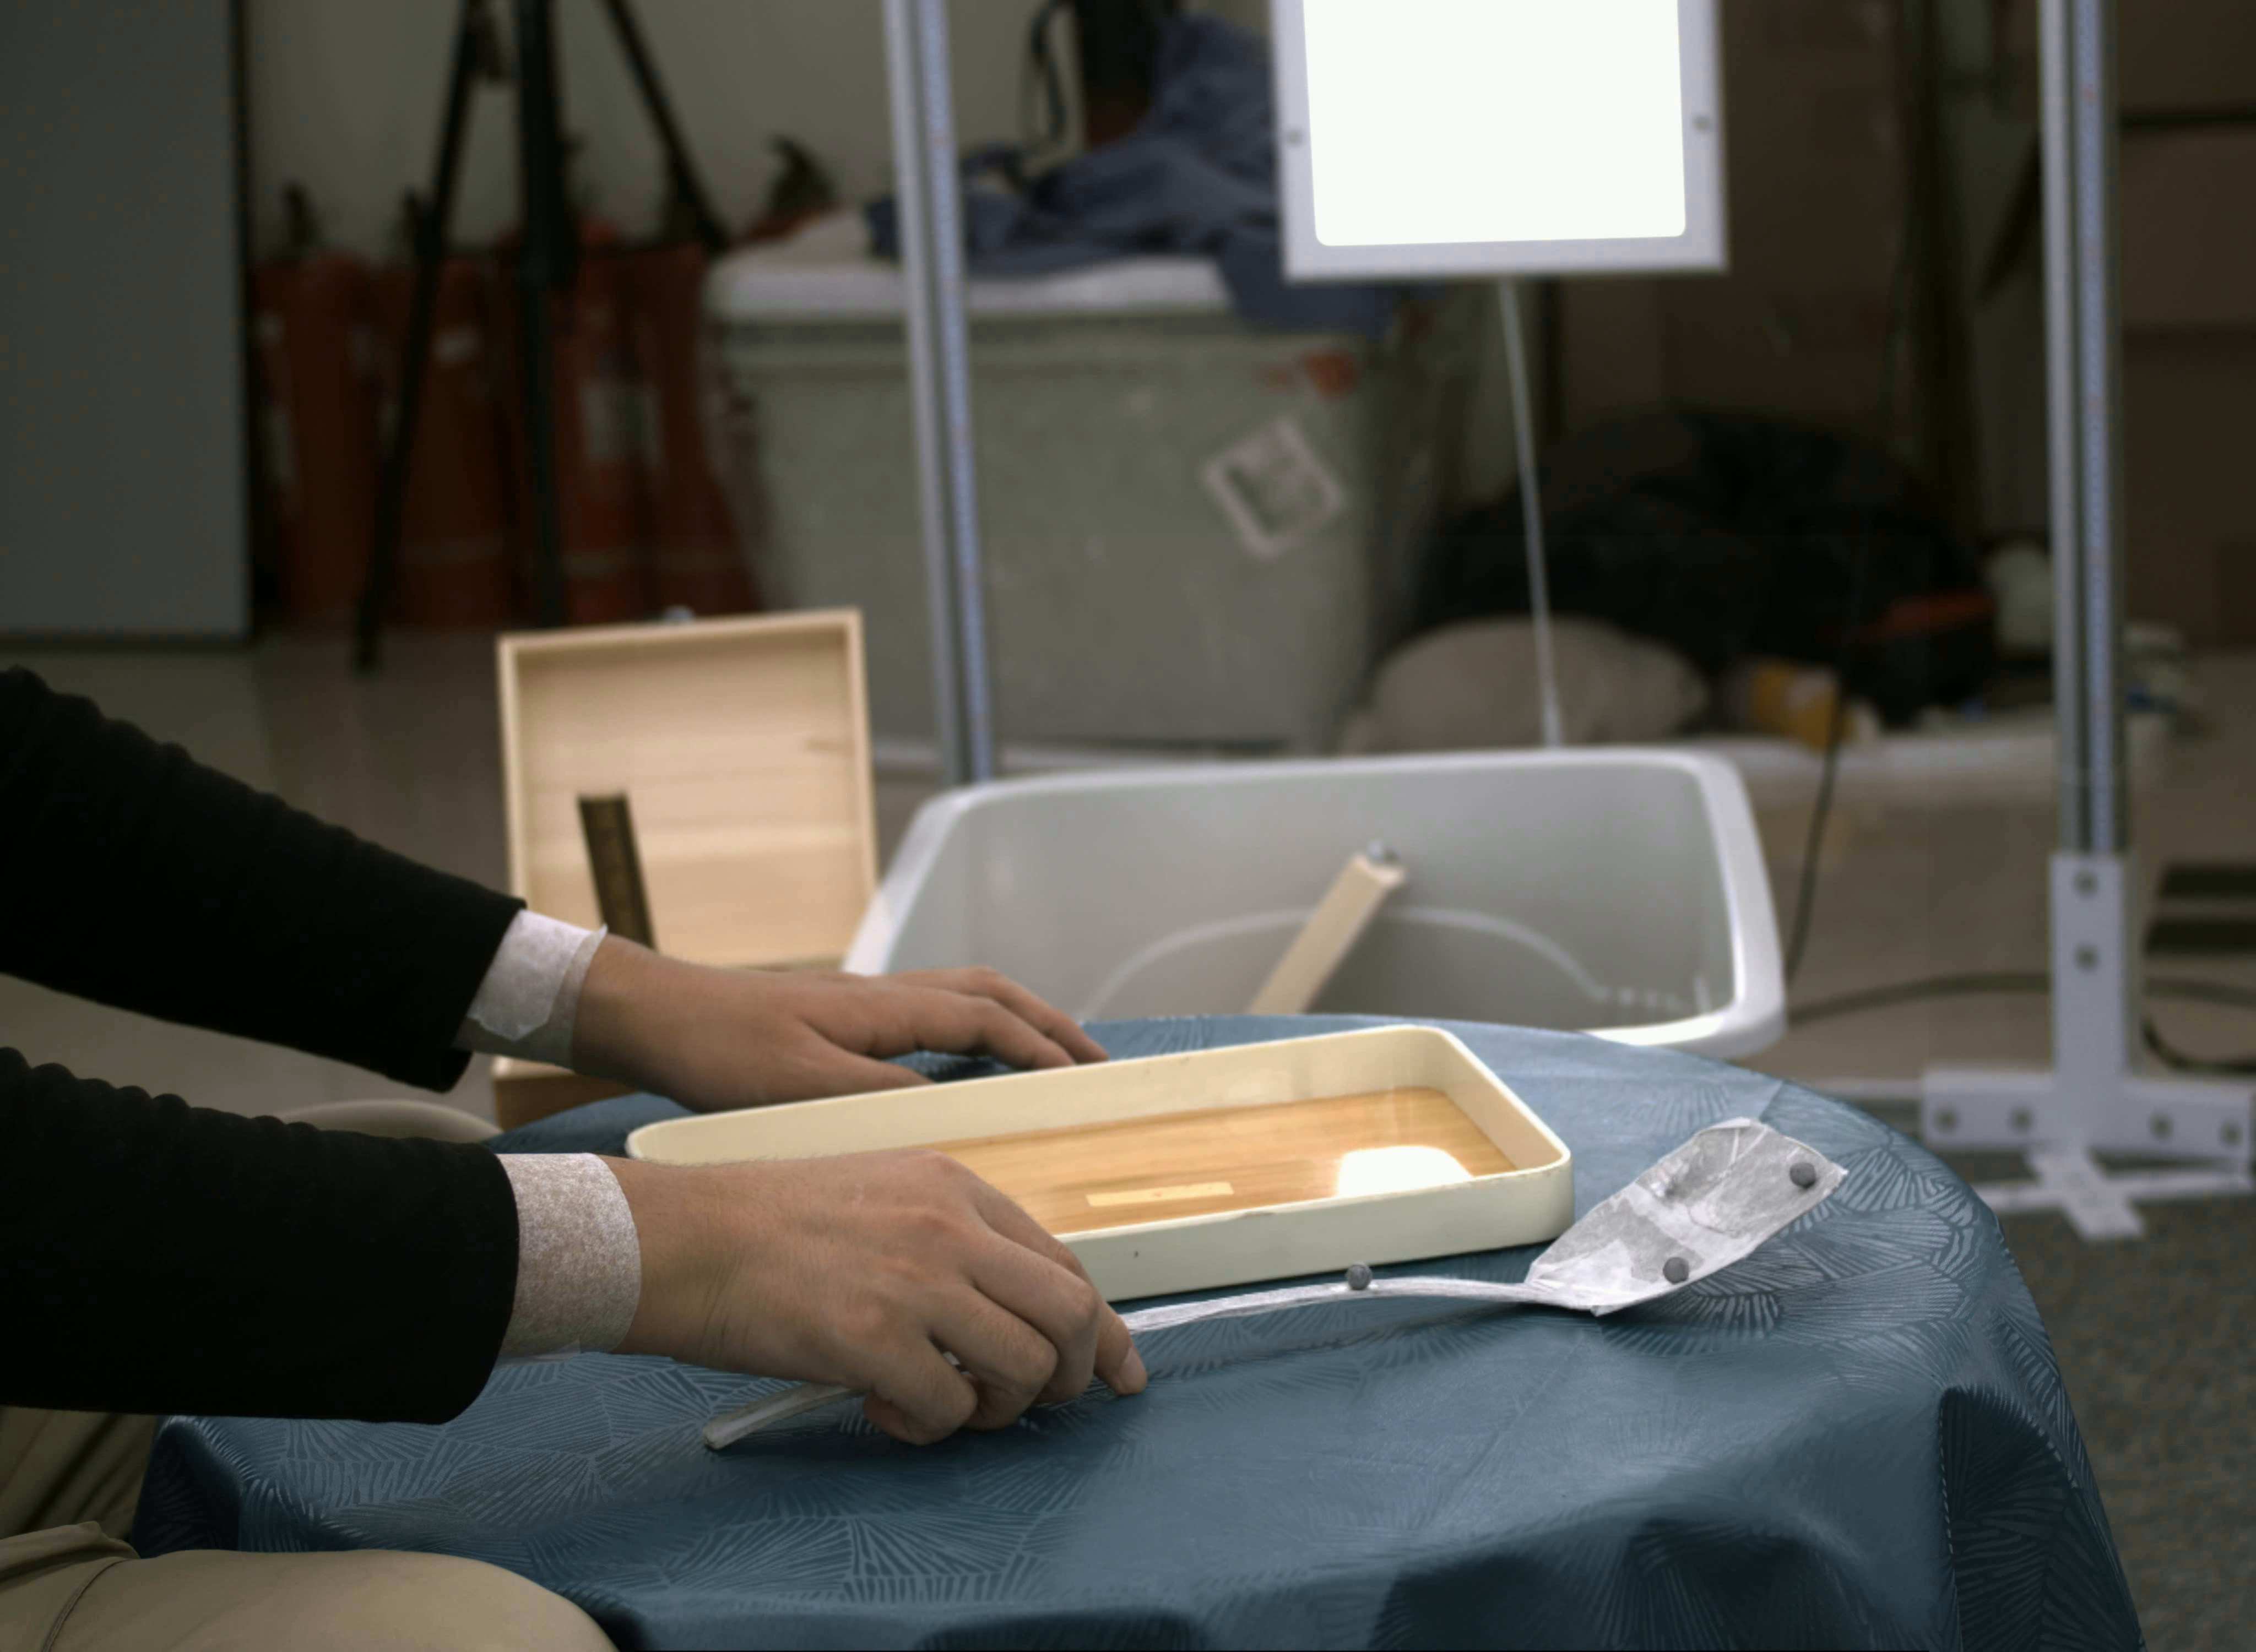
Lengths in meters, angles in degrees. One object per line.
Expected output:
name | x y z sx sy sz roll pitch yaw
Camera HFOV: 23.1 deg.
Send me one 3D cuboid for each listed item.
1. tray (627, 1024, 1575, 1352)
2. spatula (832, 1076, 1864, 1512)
tray | -0.013 0.121 1.871 0.297 0.027 0.192 -7 14 -8
spatula | 0.071 0.144 1.718 0.358 0.045 0.100 -14 -1 -21
